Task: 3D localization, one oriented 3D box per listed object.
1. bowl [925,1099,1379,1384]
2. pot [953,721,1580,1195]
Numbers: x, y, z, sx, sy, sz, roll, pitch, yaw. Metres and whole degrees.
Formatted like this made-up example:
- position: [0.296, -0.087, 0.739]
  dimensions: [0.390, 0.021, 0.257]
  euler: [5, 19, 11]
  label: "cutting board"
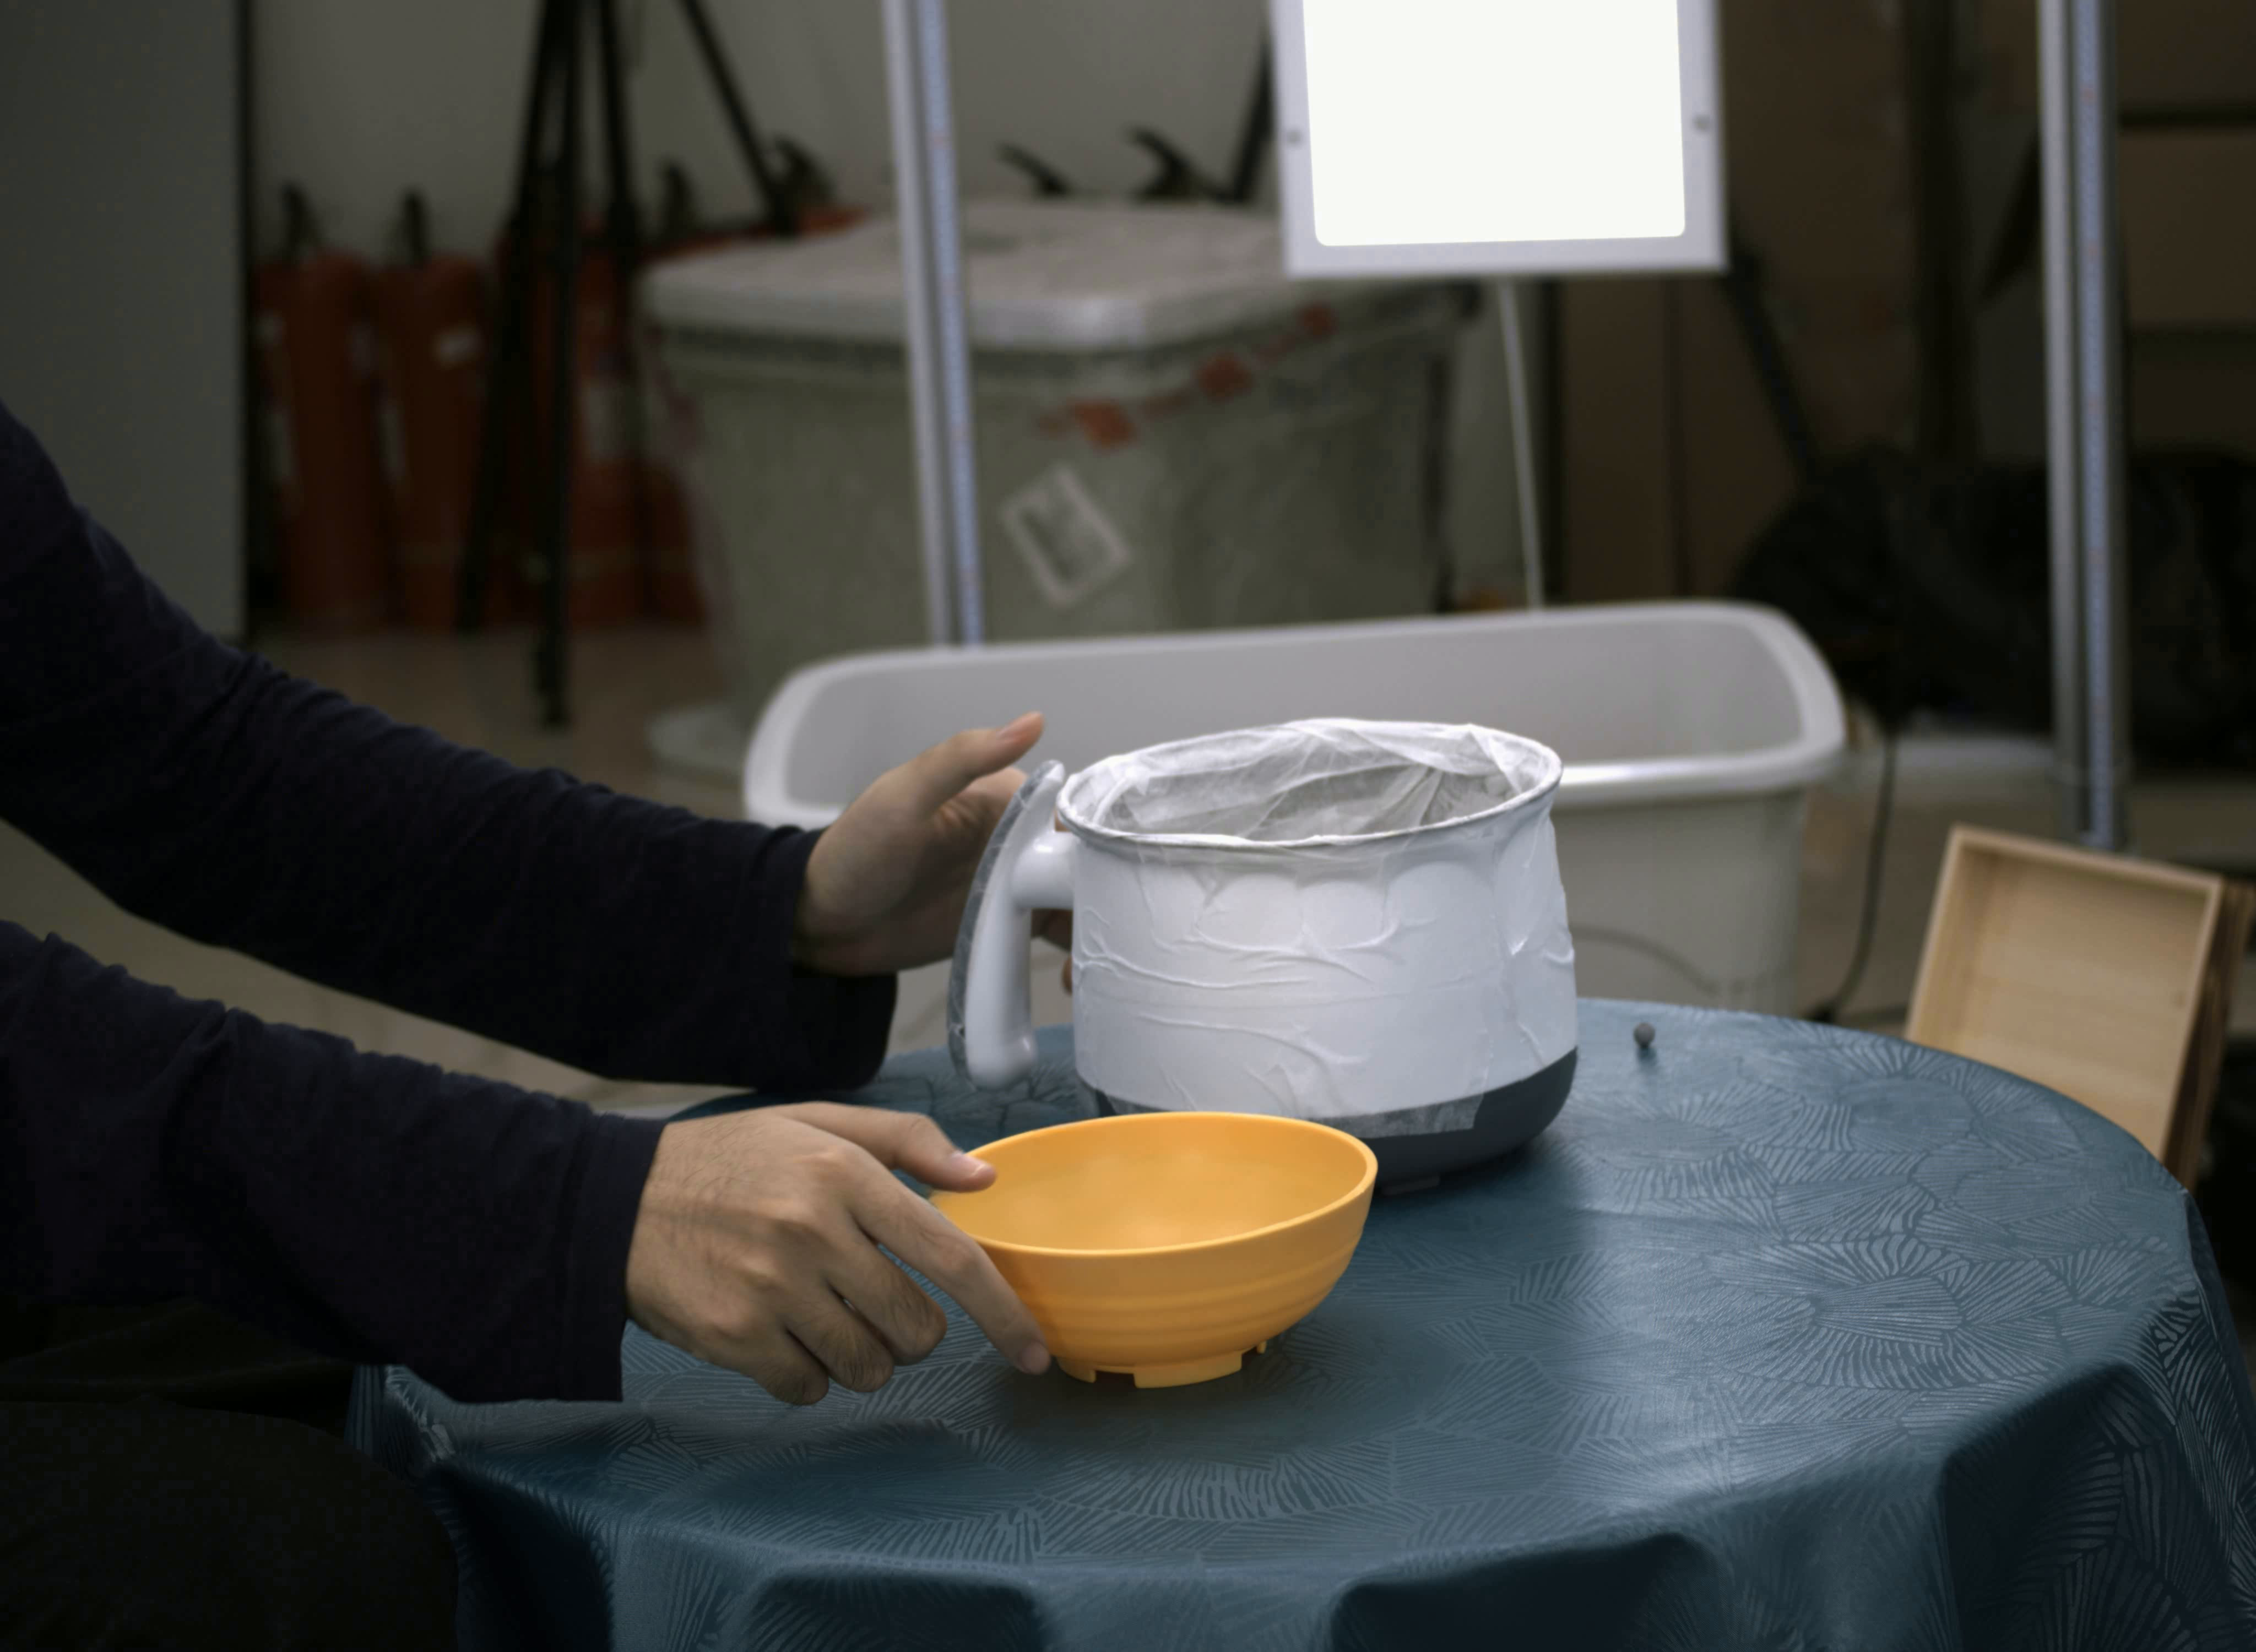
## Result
- position: [0.011, 0.136, 1.729]
  dimensions: [0.145, 0.060, 0.145]
  euler: [-8, 14, 1]
  label: "bowl"
- position: [0.043, 0.045, 1.936]
  dimensions: [0.237, 0.137, 0.175]
  euler: [1, 14, 26]
  label: "pot"
